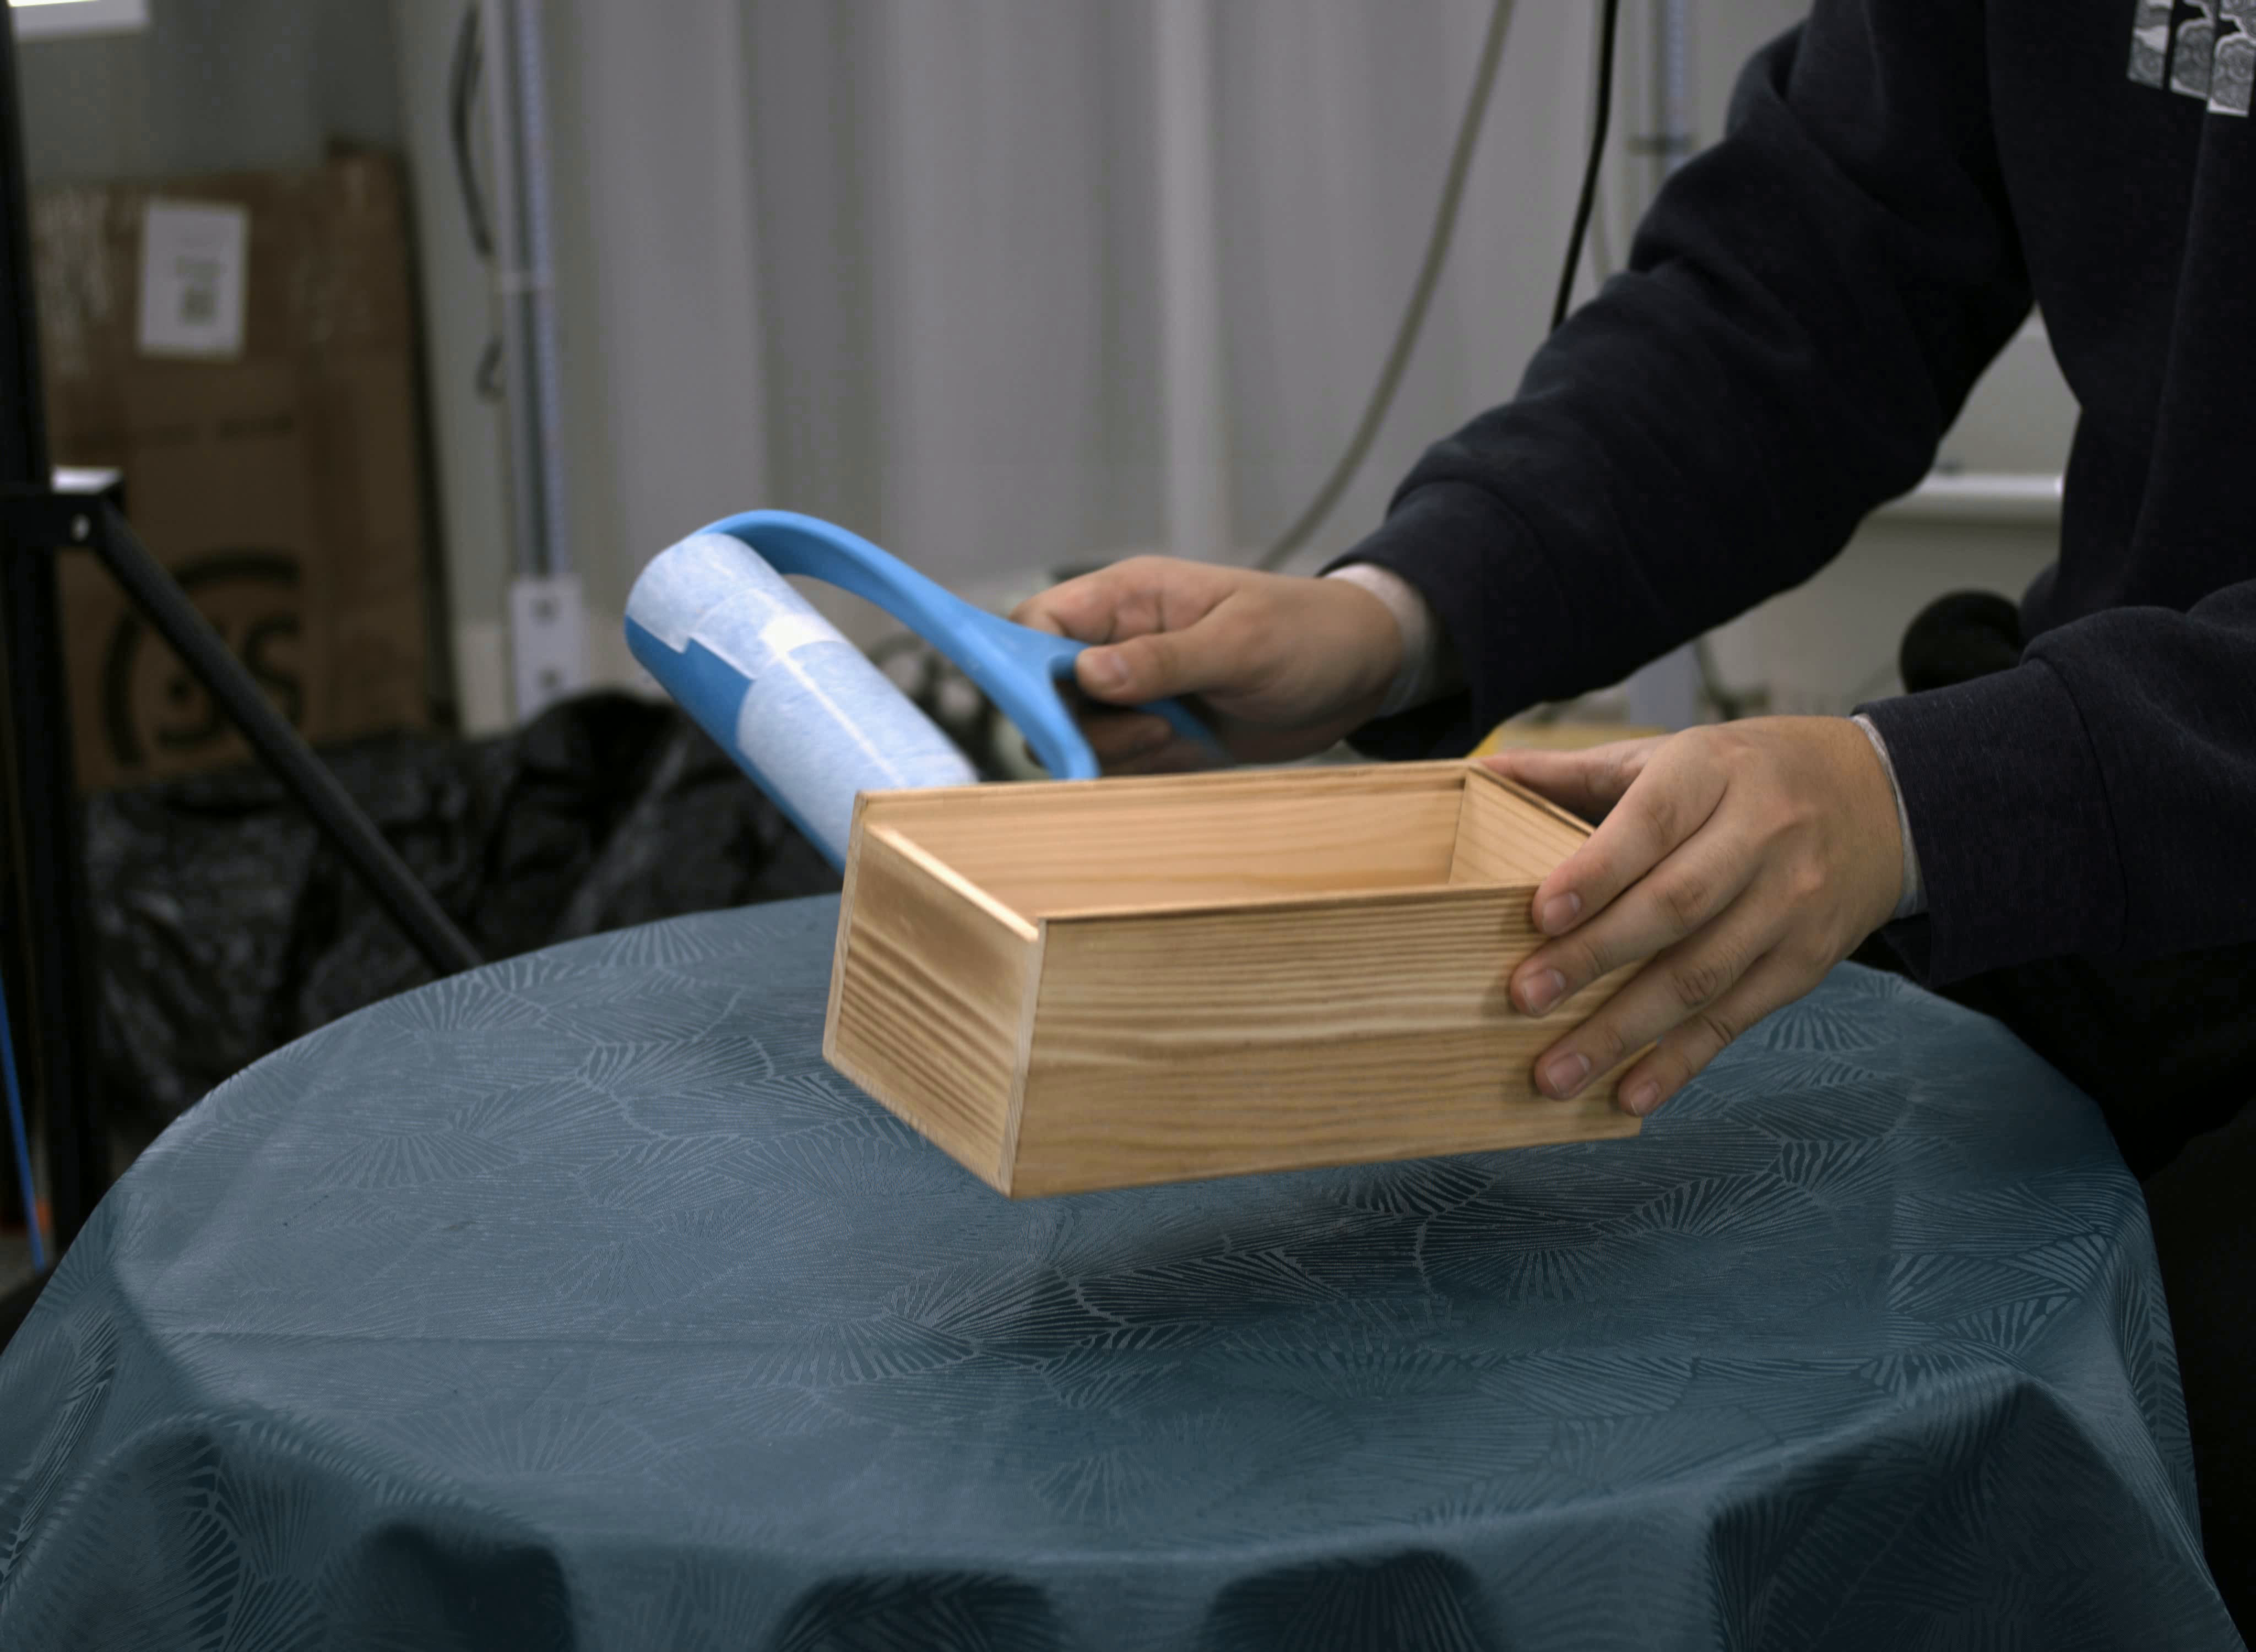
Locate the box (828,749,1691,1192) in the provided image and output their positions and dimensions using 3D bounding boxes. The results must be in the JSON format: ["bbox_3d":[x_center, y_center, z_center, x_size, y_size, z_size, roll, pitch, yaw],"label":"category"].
[{"bbox_3d":[0.037,0.037,1.480,0.206,0.080,0.110,-3,21,-31],"label":"box"}]

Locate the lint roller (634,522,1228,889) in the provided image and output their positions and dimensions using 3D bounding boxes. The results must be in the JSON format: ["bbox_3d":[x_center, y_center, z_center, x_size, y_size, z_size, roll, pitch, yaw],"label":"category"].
[{"bbox_3d":[-0.040,-0.034,1.729,0.176,0.068,0.234,-13,35,-34],"label":"lint roller"}]
